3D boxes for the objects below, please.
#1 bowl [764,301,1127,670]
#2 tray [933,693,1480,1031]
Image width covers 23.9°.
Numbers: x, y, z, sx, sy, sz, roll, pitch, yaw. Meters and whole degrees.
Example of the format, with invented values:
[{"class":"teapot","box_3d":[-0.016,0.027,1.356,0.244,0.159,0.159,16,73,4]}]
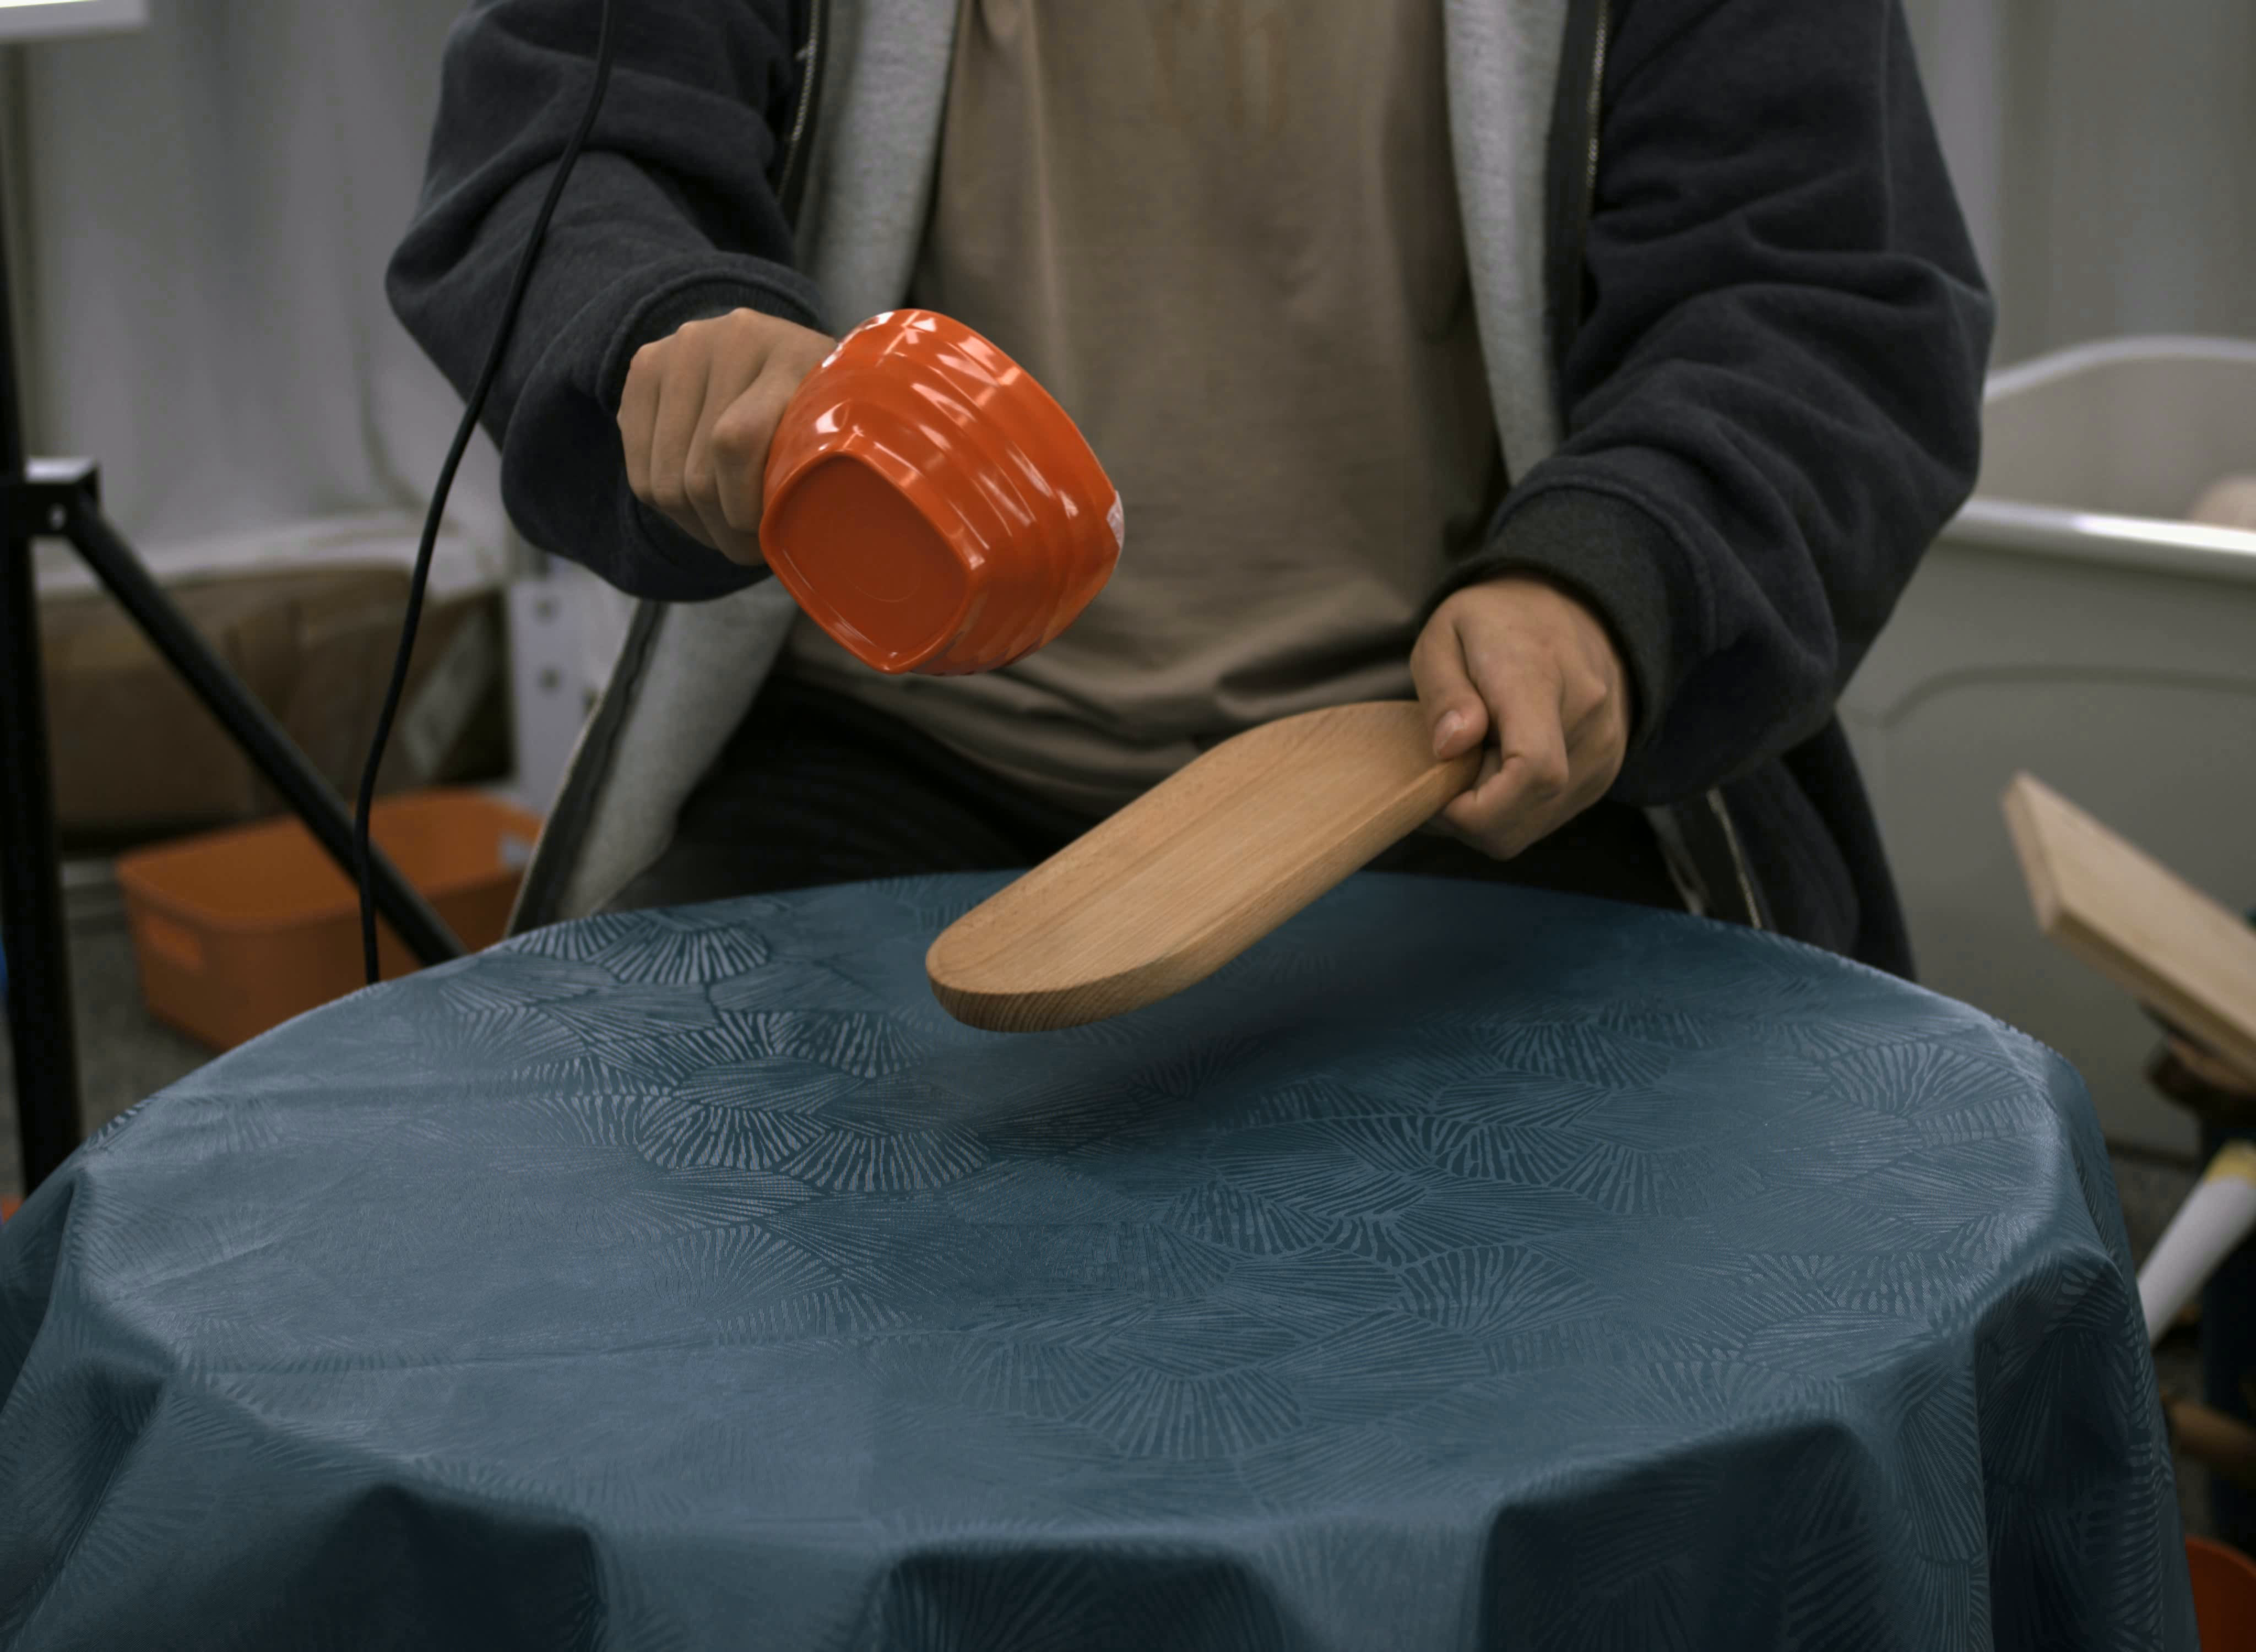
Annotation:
[{"class":"bowl","box_3d":[-0.063,-0.091,1.576,0.121,0.118,0.051,9,37,34]},{"class":"tray","box_3d":[0.028,0.009,1.664,0.104,0.020,0.227,2,24,38]}]
